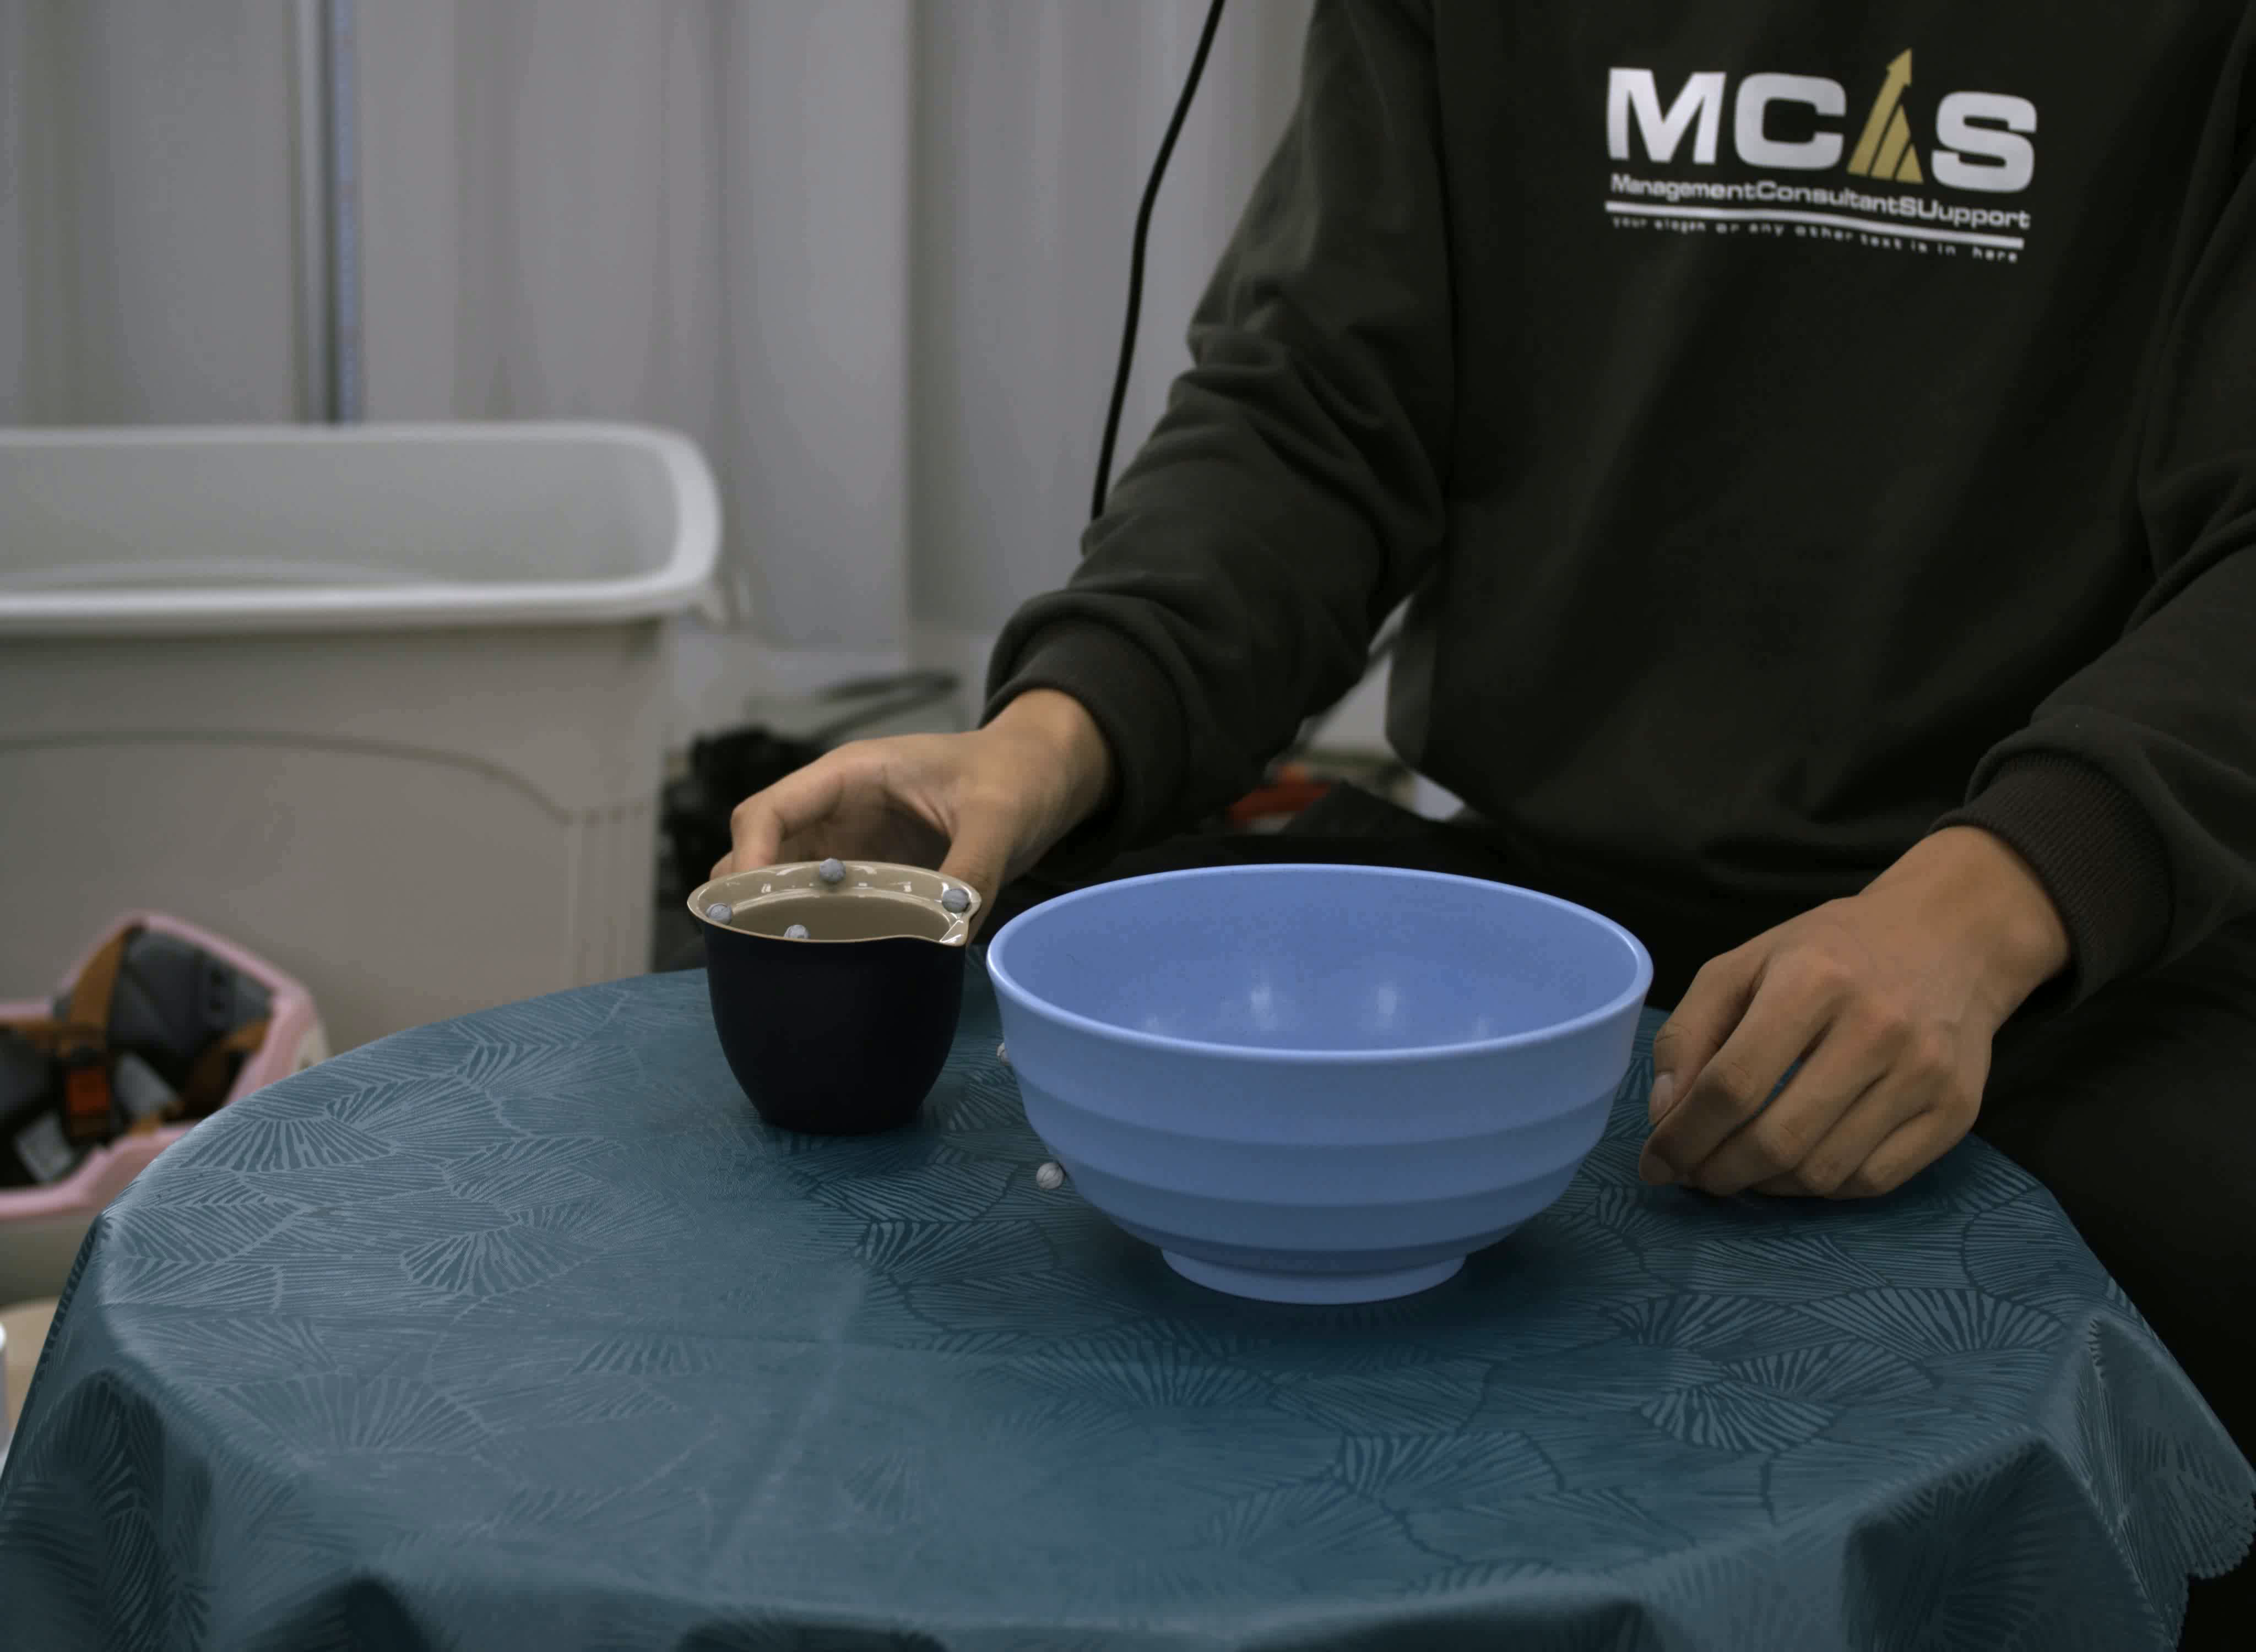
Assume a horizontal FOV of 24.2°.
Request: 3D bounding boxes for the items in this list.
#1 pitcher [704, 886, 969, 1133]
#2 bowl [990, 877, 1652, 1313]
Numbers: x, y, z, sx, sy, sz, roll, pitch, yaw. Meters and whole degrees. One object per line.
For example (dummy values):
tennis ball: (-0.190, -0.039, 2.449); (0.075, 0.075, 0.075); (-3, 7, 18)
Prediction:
pitcher: (-0.089, 0.058, 1.686); (0.095, 0.072, 0.084); (13, 19, 38)
bowl: (0.055, 0.085, 1.568); (0.196, 0.096, 0.195); (3, 14, 0)
